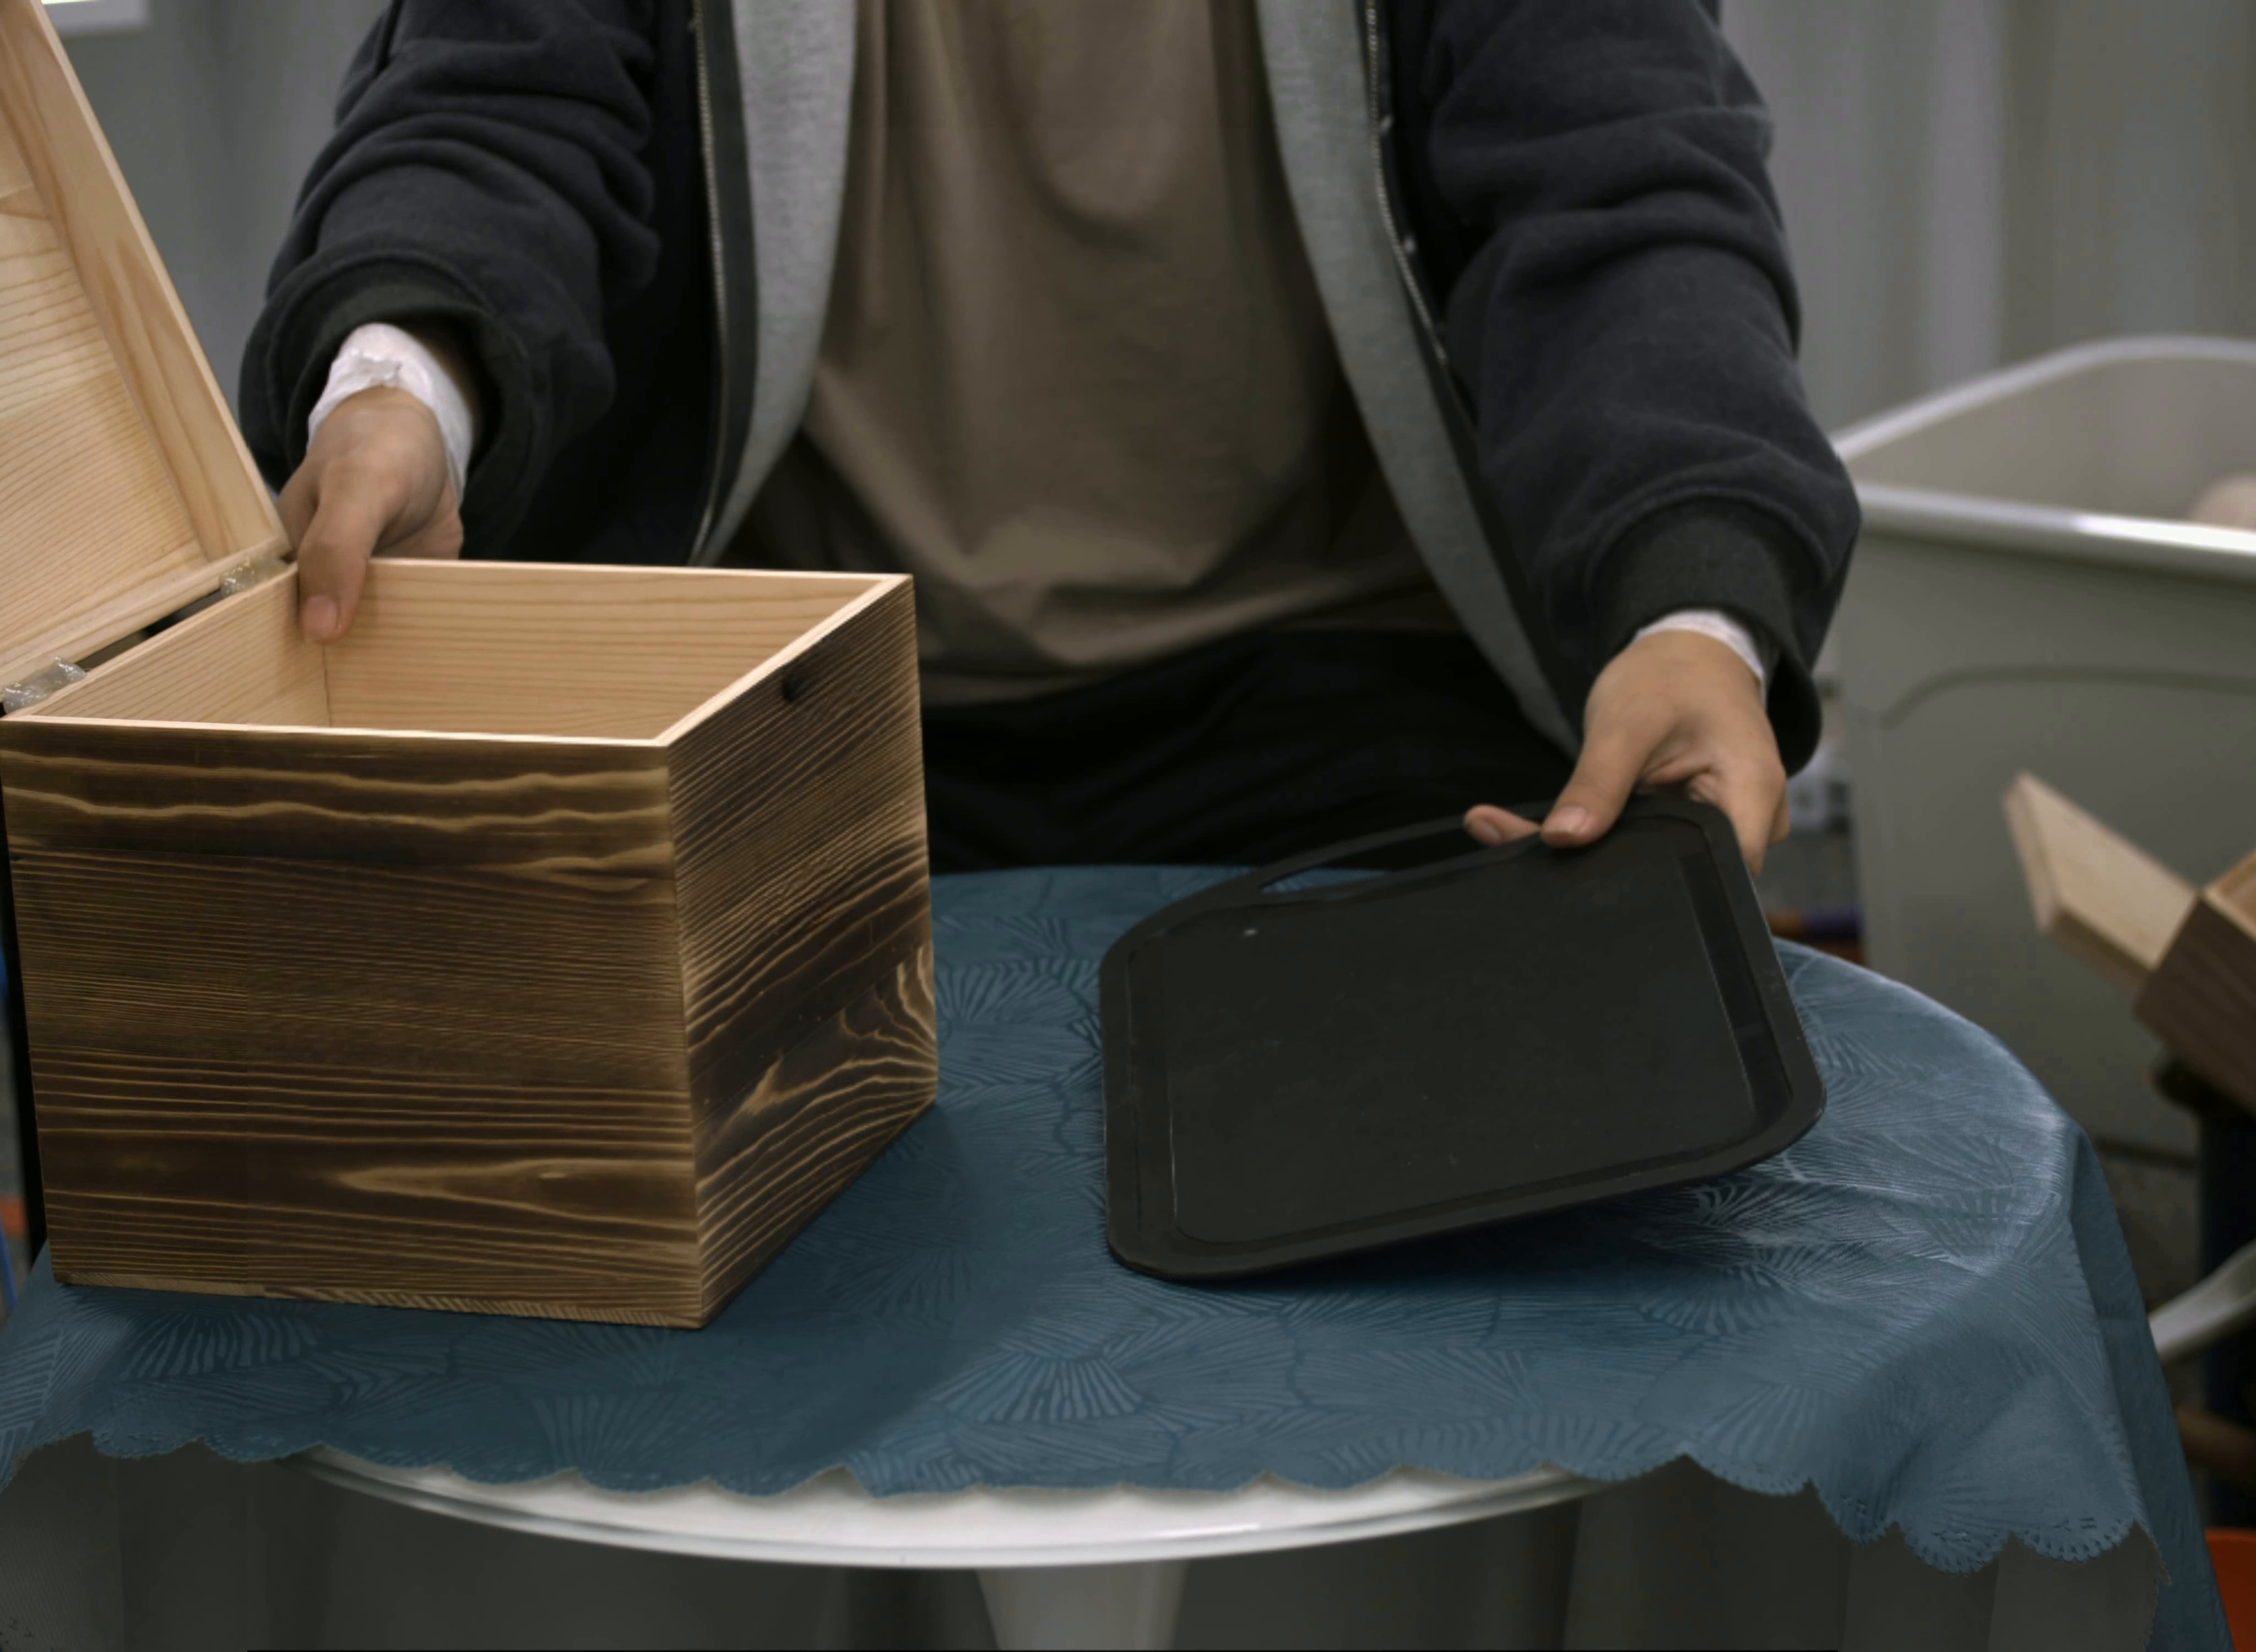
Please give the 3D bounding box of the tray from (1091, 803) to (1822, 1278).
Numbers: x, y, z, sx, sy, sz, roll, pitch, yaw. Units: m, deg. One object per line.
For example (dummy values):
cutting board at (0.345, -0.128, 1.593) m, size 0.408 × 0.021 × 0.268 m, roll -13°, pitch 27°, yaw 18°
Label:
tray at (0.092, 0.057, 1.618) m, size 0.211 × 0.010 × 0.327 m, roll -13°, pitch 19°, yaw 4°

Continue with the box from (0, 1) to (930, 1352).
box at (-0.239, -0.067, 1.559) m, size 0.325 × 0.375 × 0.207 m, roll 2°, pitch 16°, yaw 18°
